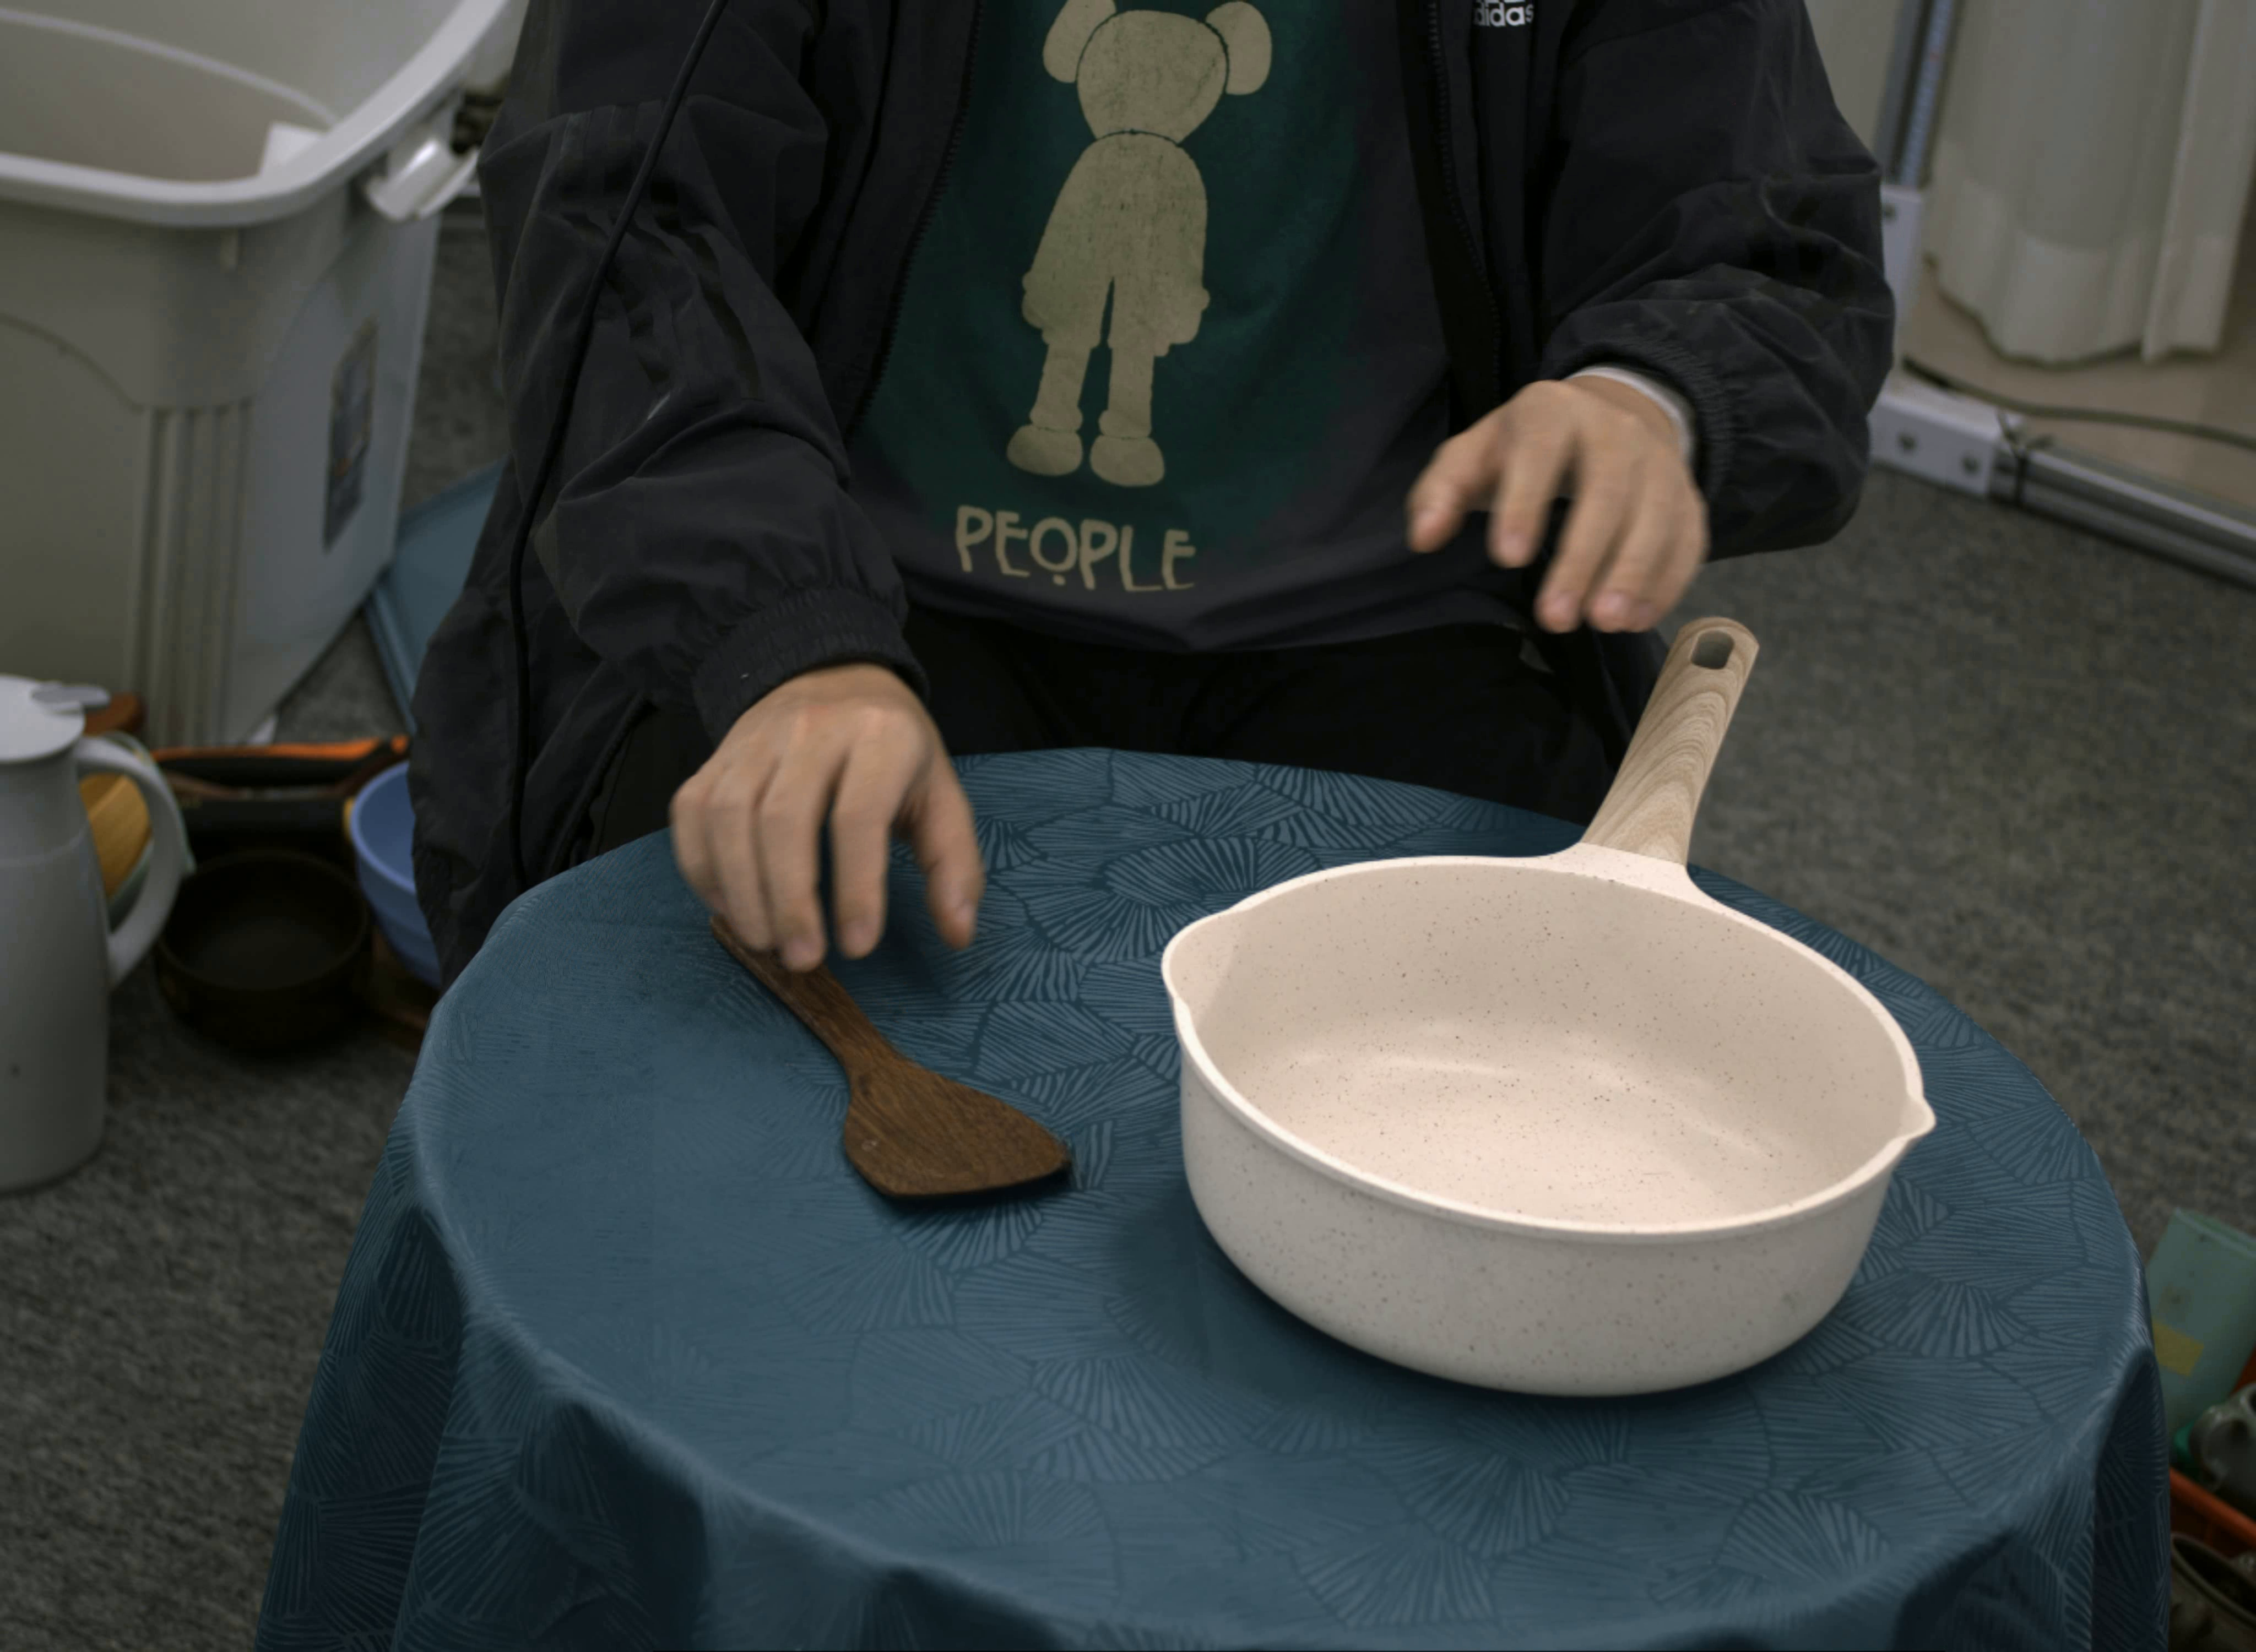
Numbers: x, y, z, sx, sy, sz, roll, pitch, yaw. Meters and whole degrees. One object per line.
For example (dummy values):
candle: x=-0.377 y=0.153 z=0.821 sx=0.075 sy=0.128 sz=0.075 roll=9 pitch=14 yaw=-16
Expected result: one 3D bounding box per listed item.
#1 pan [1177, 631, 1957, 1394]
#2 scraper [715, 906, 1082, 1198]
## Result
pan: x=0.166 y=0.060 z=1.860 sx=0.263 sy=0.101 sz=0.436 roll=11 pitch=27 yaw=12
scraper: x=-0.092 y=0.078 z=1.865 sx=0.075 sy=0.011 sz=0.213 roll=-7 pitch=29 yaw=-27
